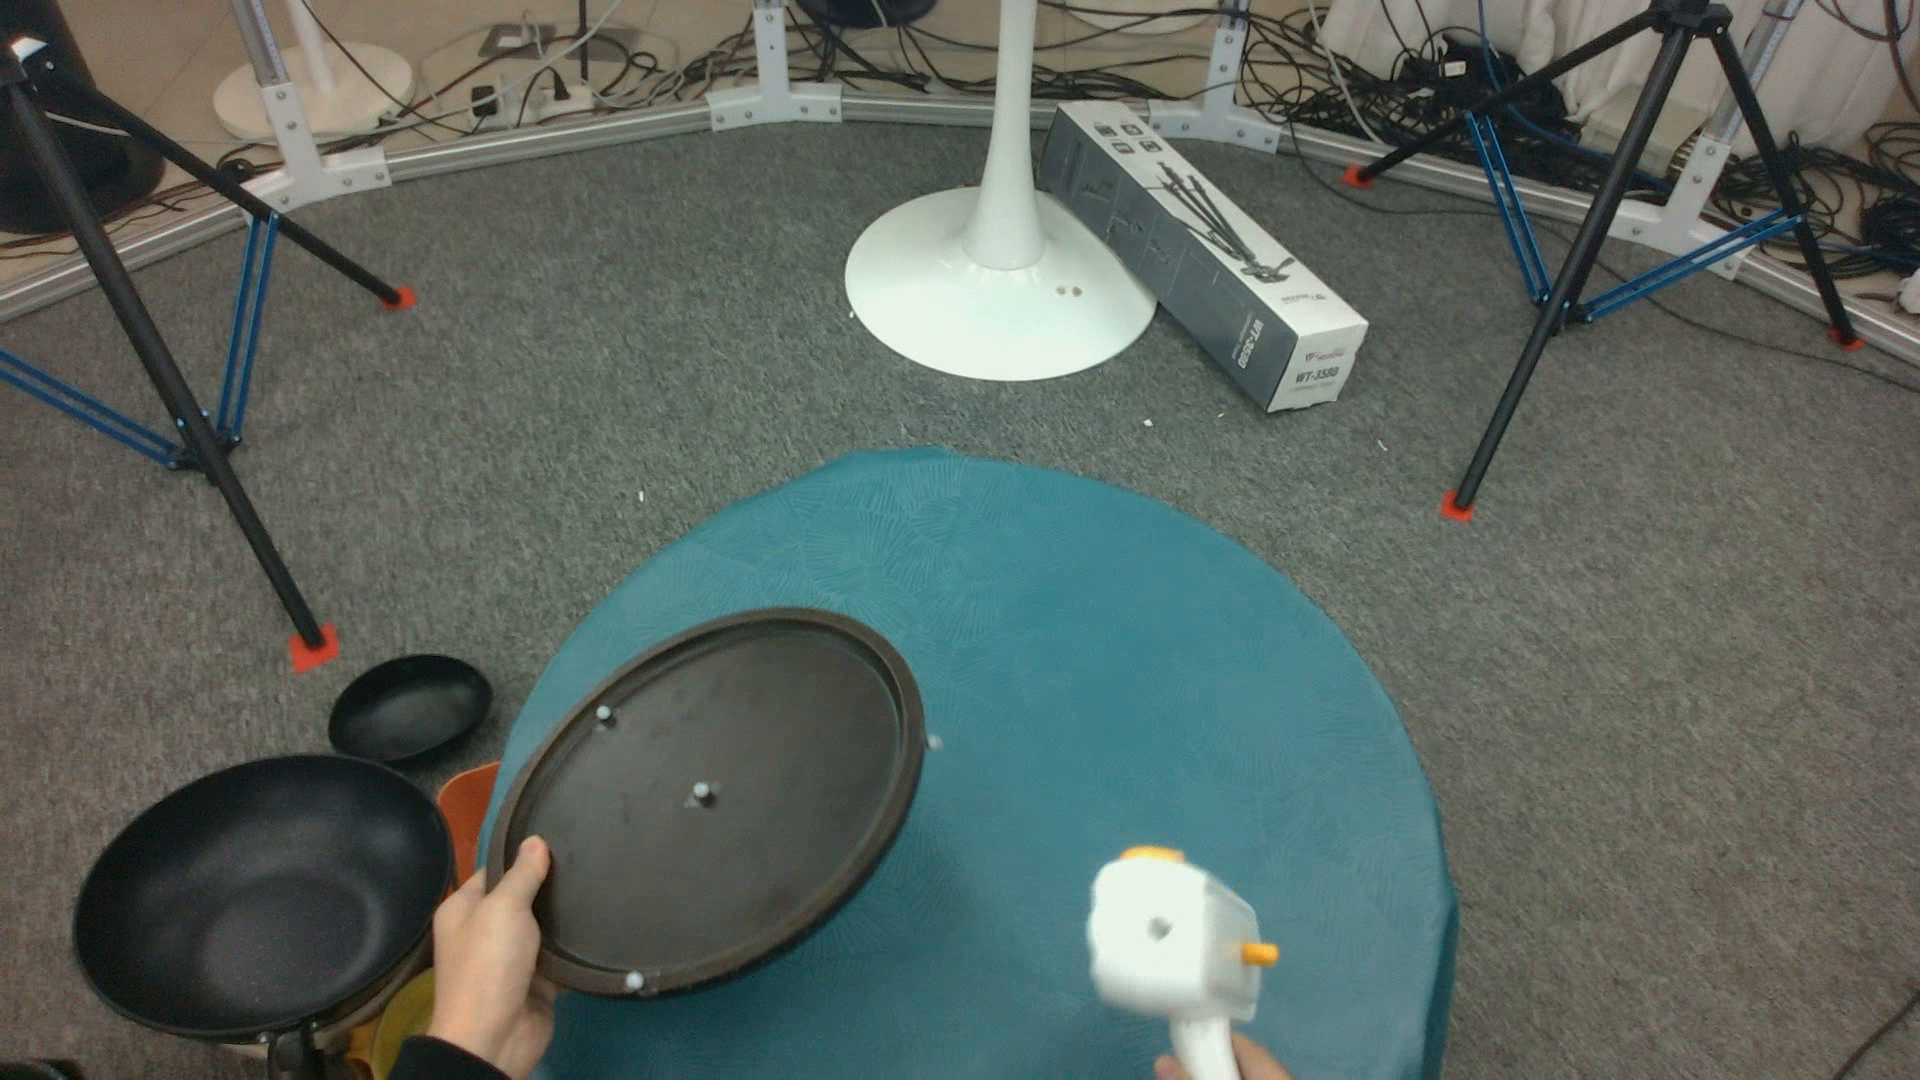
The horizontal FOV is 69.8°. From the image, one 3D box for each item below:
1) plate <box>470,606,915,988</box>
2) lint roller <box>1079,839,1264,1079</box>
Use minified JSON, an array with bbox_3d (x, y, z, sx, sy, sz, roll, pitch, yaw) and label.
[{"bbox_3d":[-0.145,0.131,0.754,0.254,0.029,0.256,-11,41,10],"label":"plate"},{"bbox_3d":[0.109,0.238,0.627,0.074,0.192,0.193,-9,71,12],"label":"lint roller"}]
